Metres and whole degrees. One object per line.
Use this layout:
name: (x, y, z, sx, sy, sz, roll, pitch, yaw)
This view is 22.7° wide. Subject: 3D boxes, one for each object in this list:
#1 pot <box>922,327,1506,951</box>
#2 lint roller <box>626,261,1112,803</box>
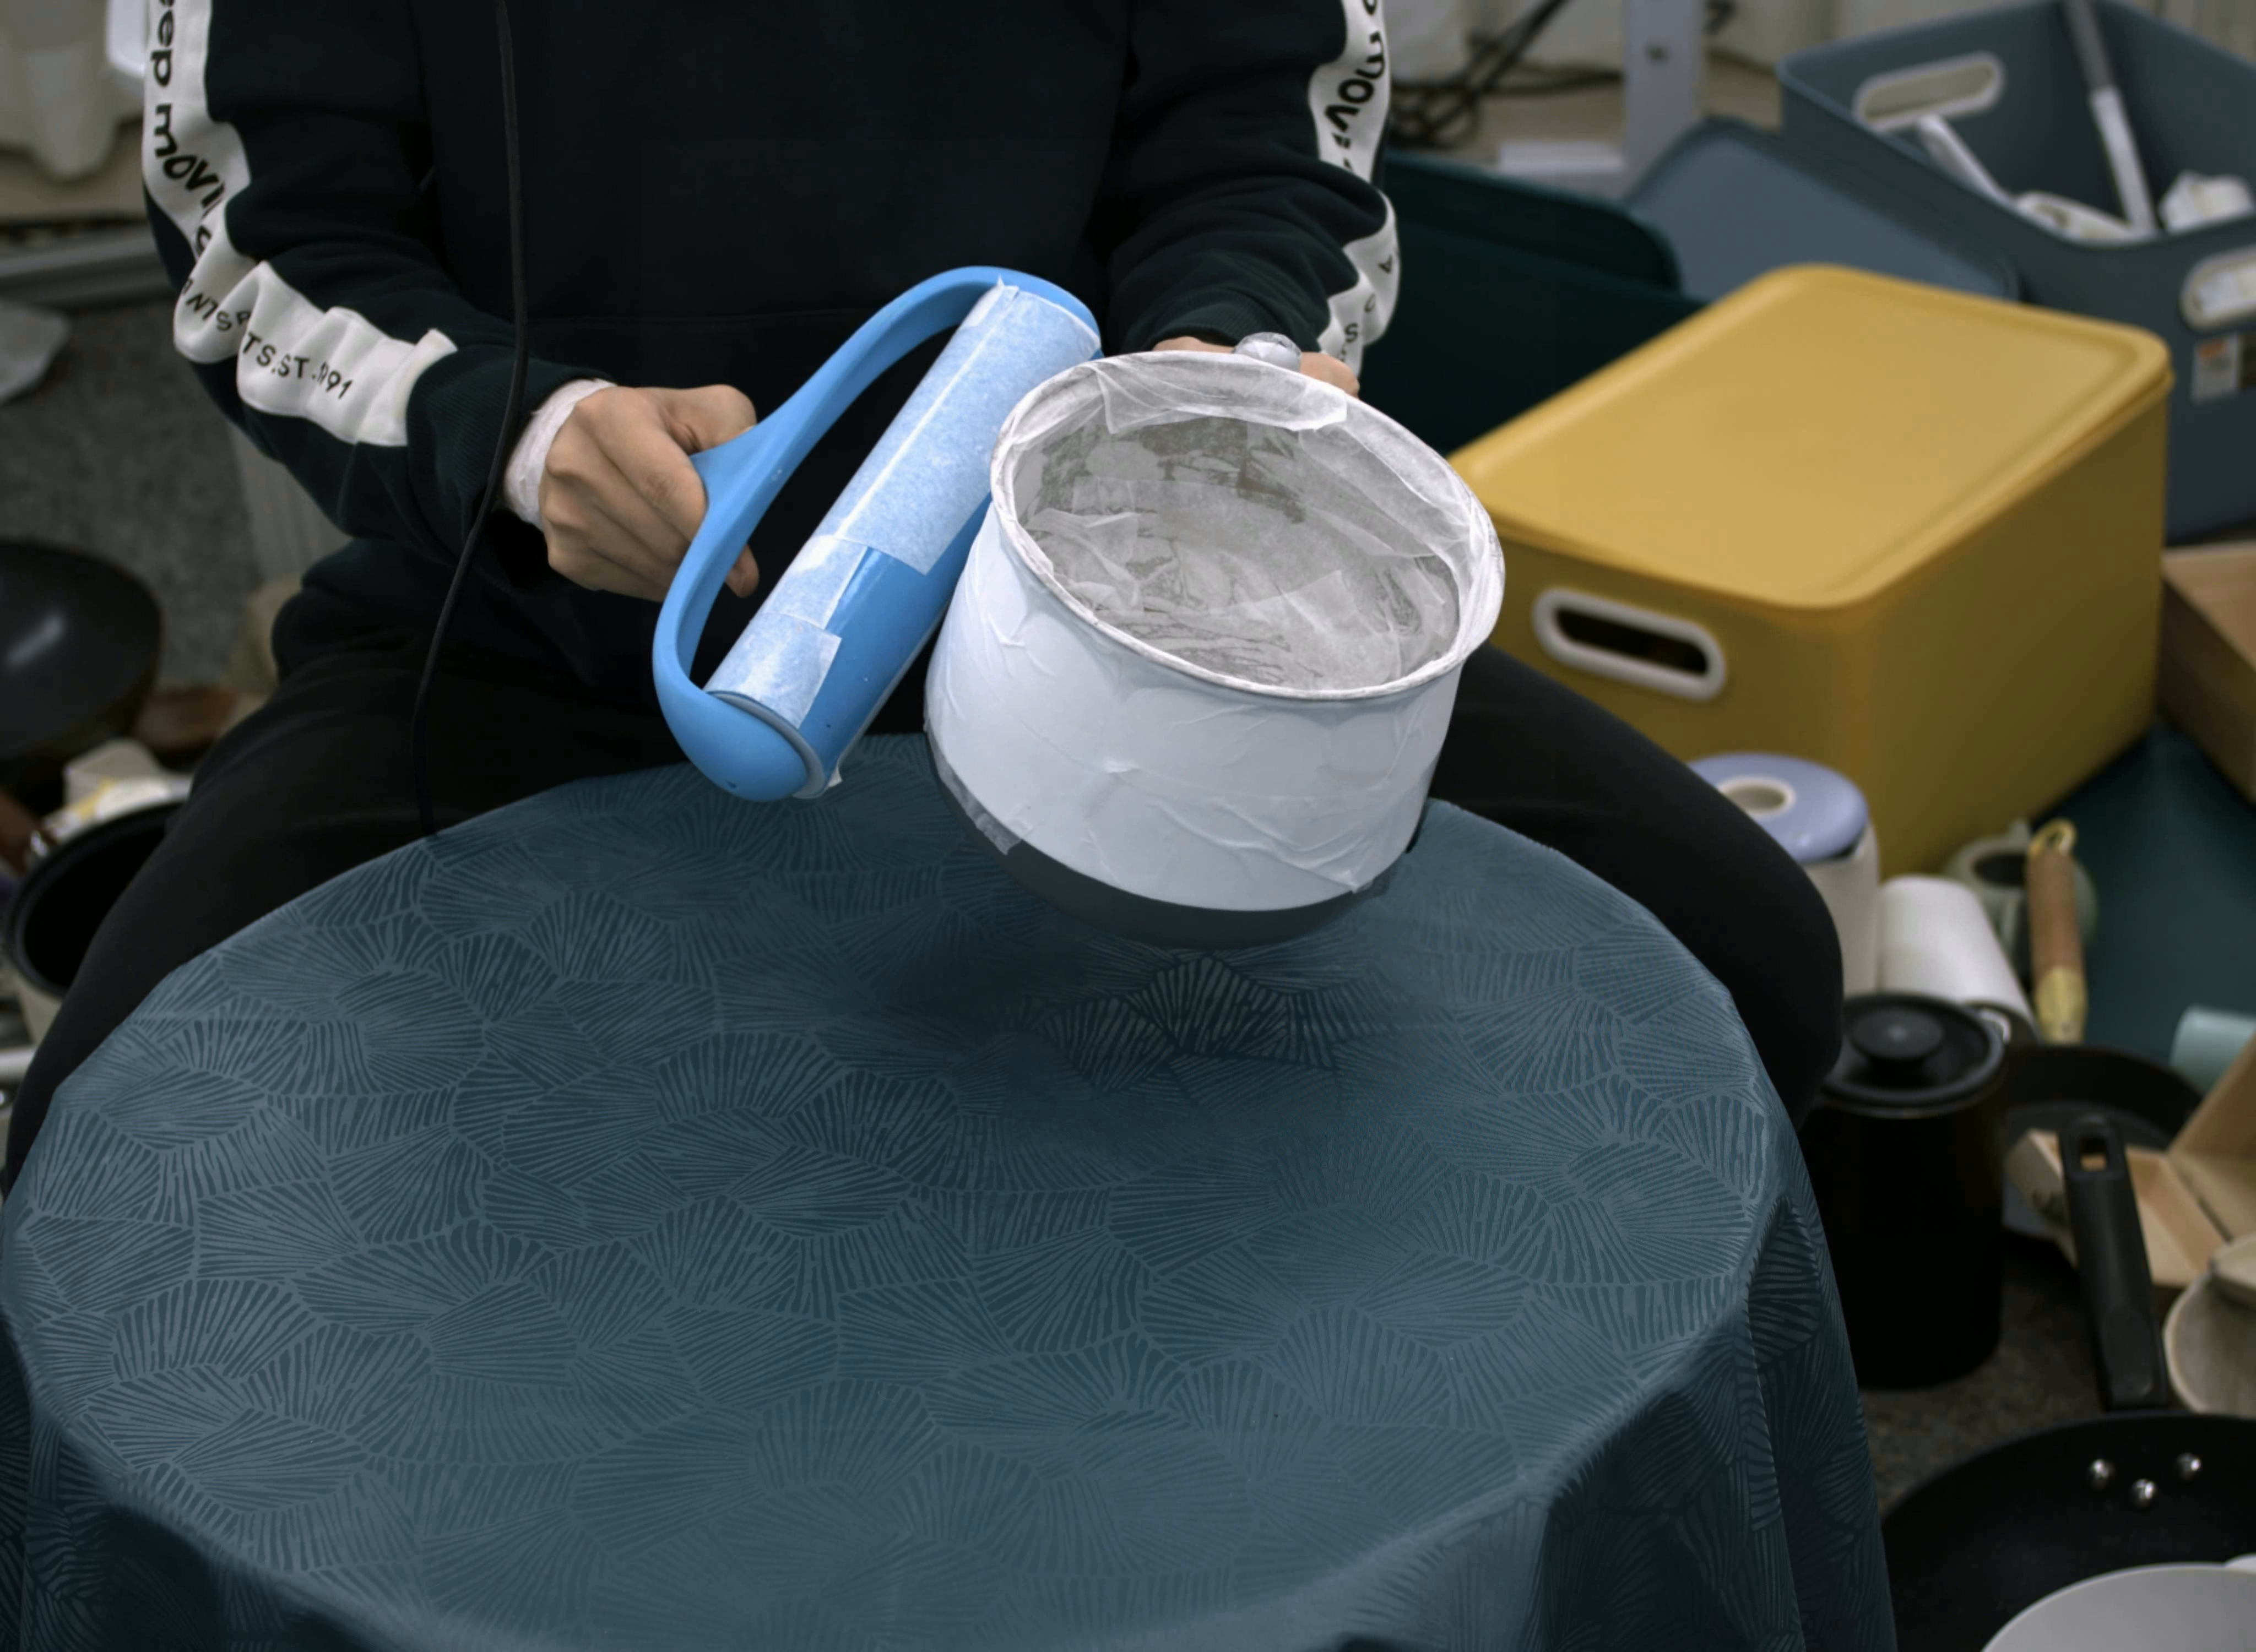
pot: (0.027, -0.075, 1.919, 0.178, 0.134, 0.238, 15, 40, -6)
lint roller: (-0.120, -0.104, 1.963, 0.179, 0.067, 0.233, 4, 52, 37)
